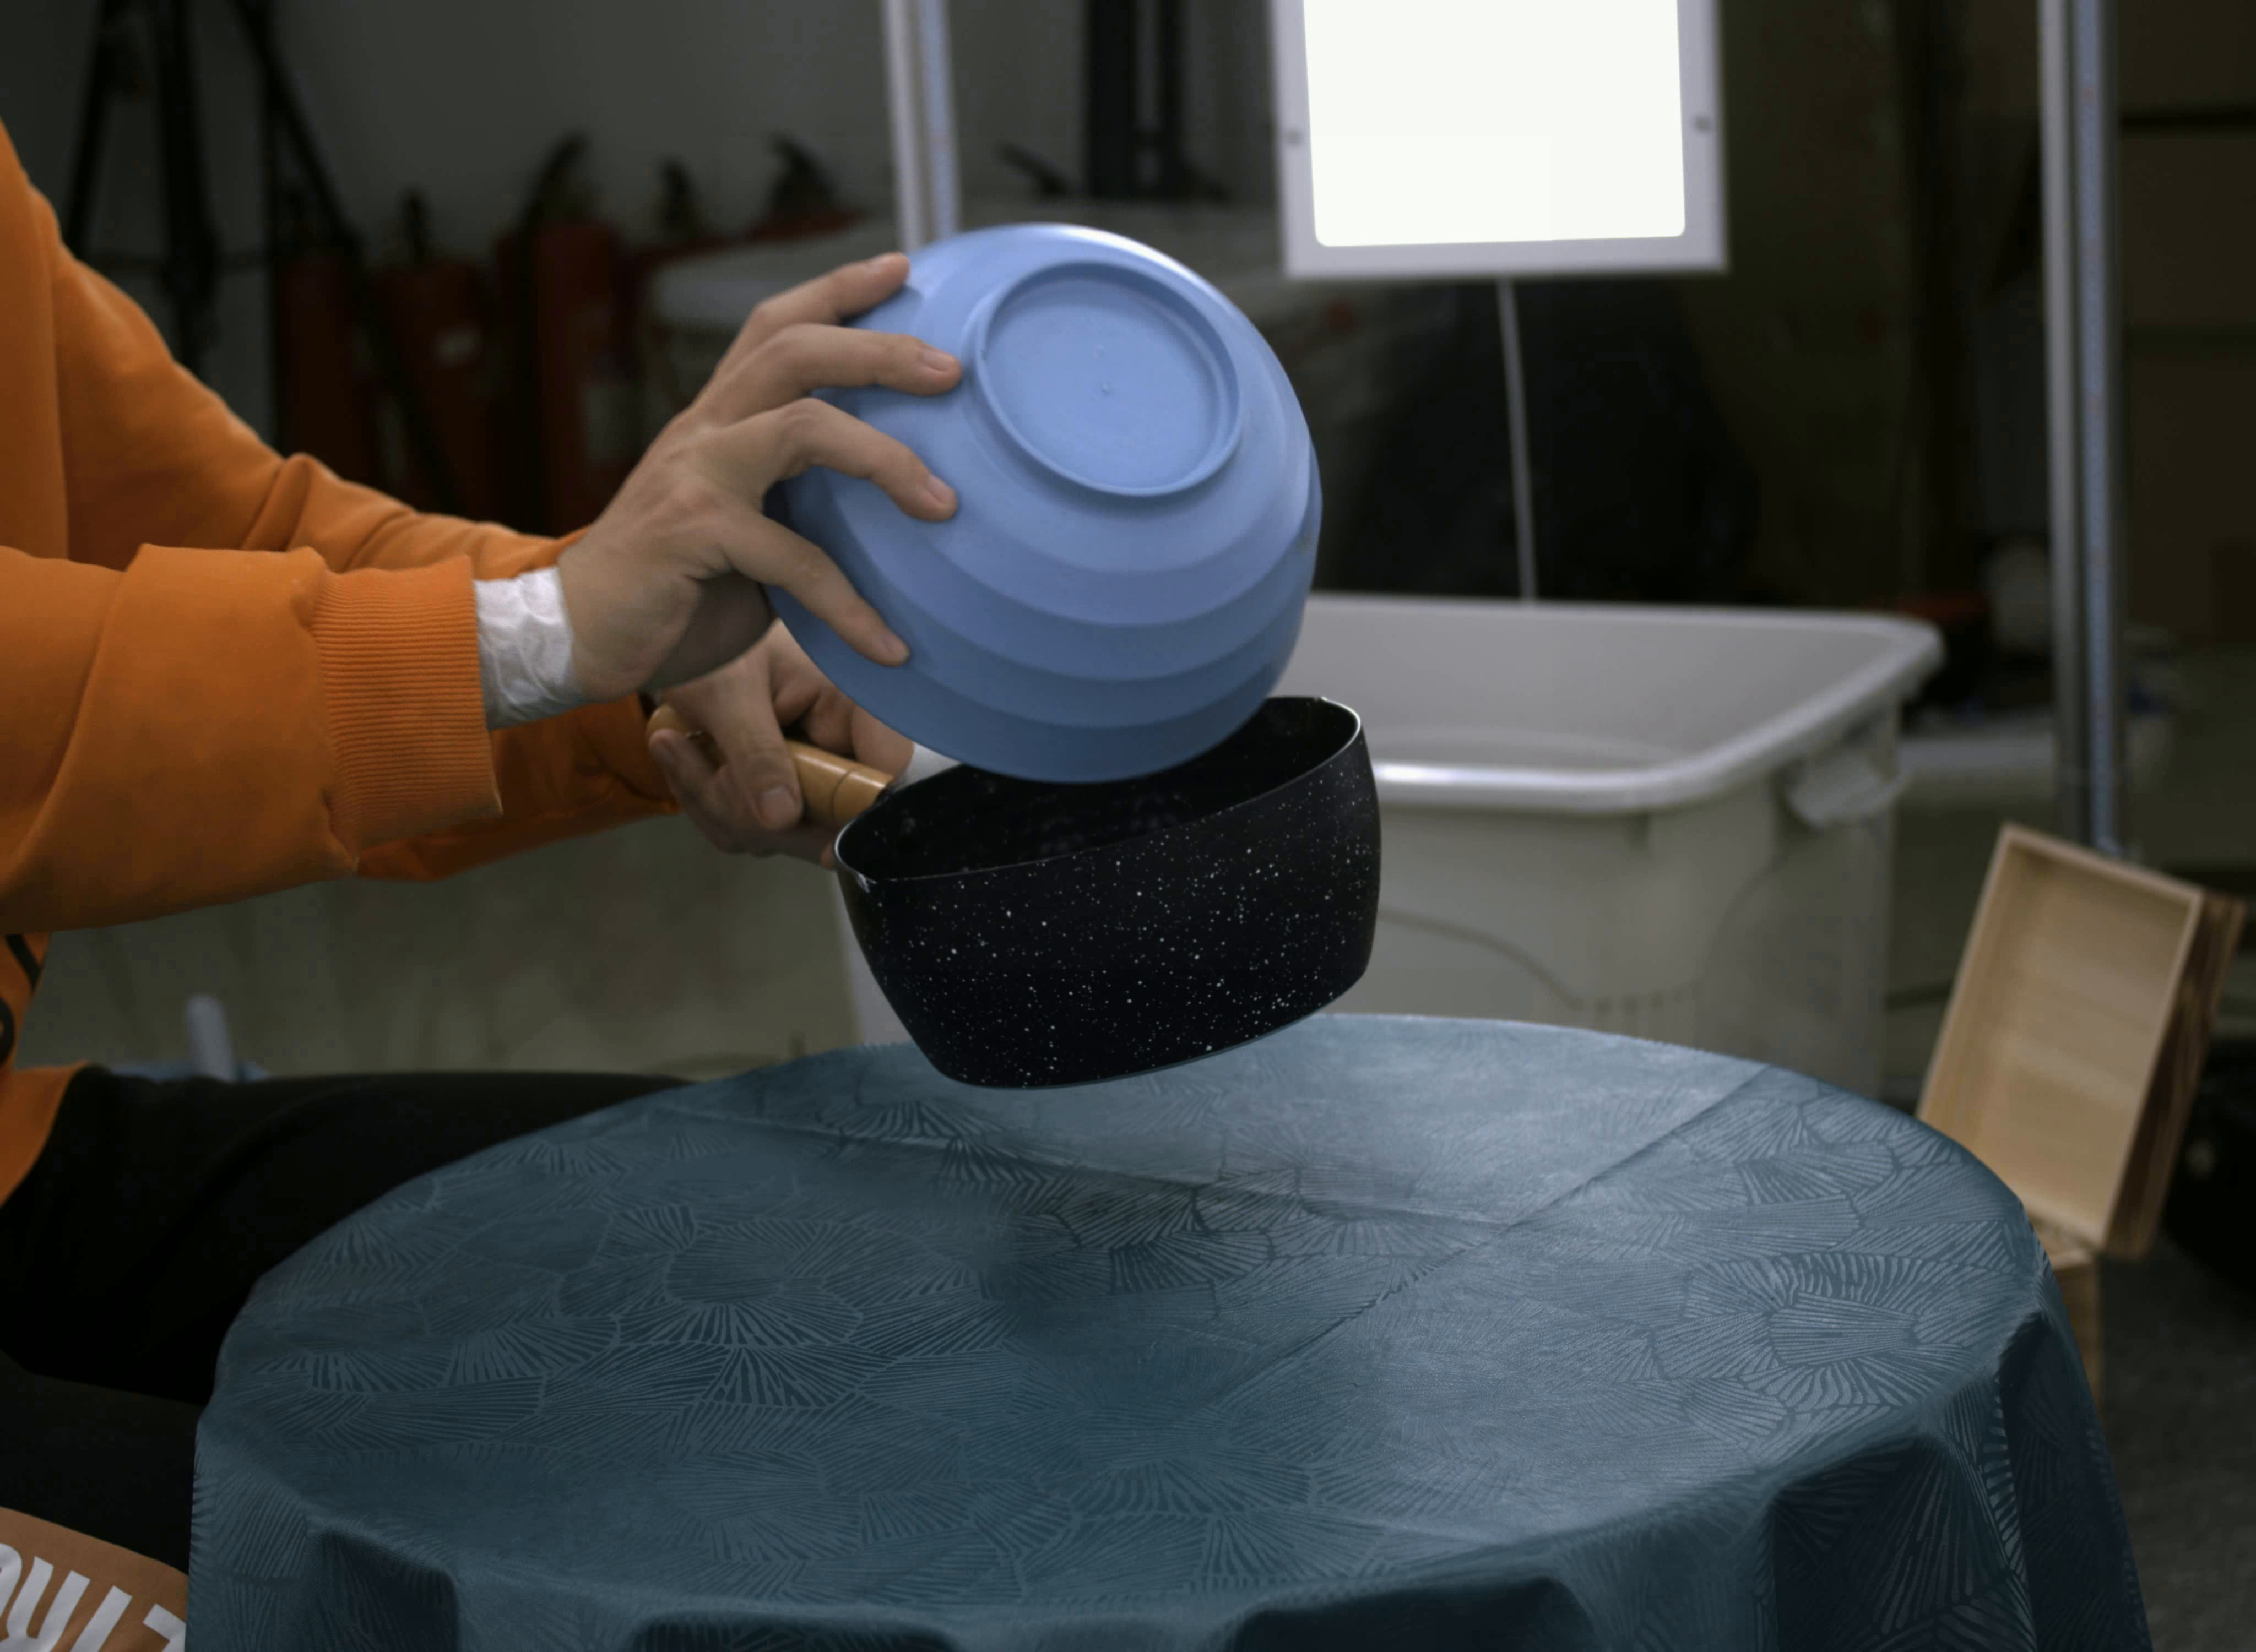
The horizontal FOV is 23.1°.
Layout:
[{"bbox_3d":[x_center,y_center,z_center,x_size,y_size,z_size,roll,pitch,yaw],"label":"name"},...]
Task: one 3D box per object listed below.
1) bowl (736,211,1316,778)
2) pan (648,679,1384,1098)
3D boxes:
[{"bbox_3d":[-0.021,-0.124,1.778,0.193,0.197,0.097,-10,-23,-22],"label":"bowl"},{"bbox_3d":[-0.055,0.012,1.914,0.202,0.108,0.350,-26,18,-36],"label":"pan"}]
